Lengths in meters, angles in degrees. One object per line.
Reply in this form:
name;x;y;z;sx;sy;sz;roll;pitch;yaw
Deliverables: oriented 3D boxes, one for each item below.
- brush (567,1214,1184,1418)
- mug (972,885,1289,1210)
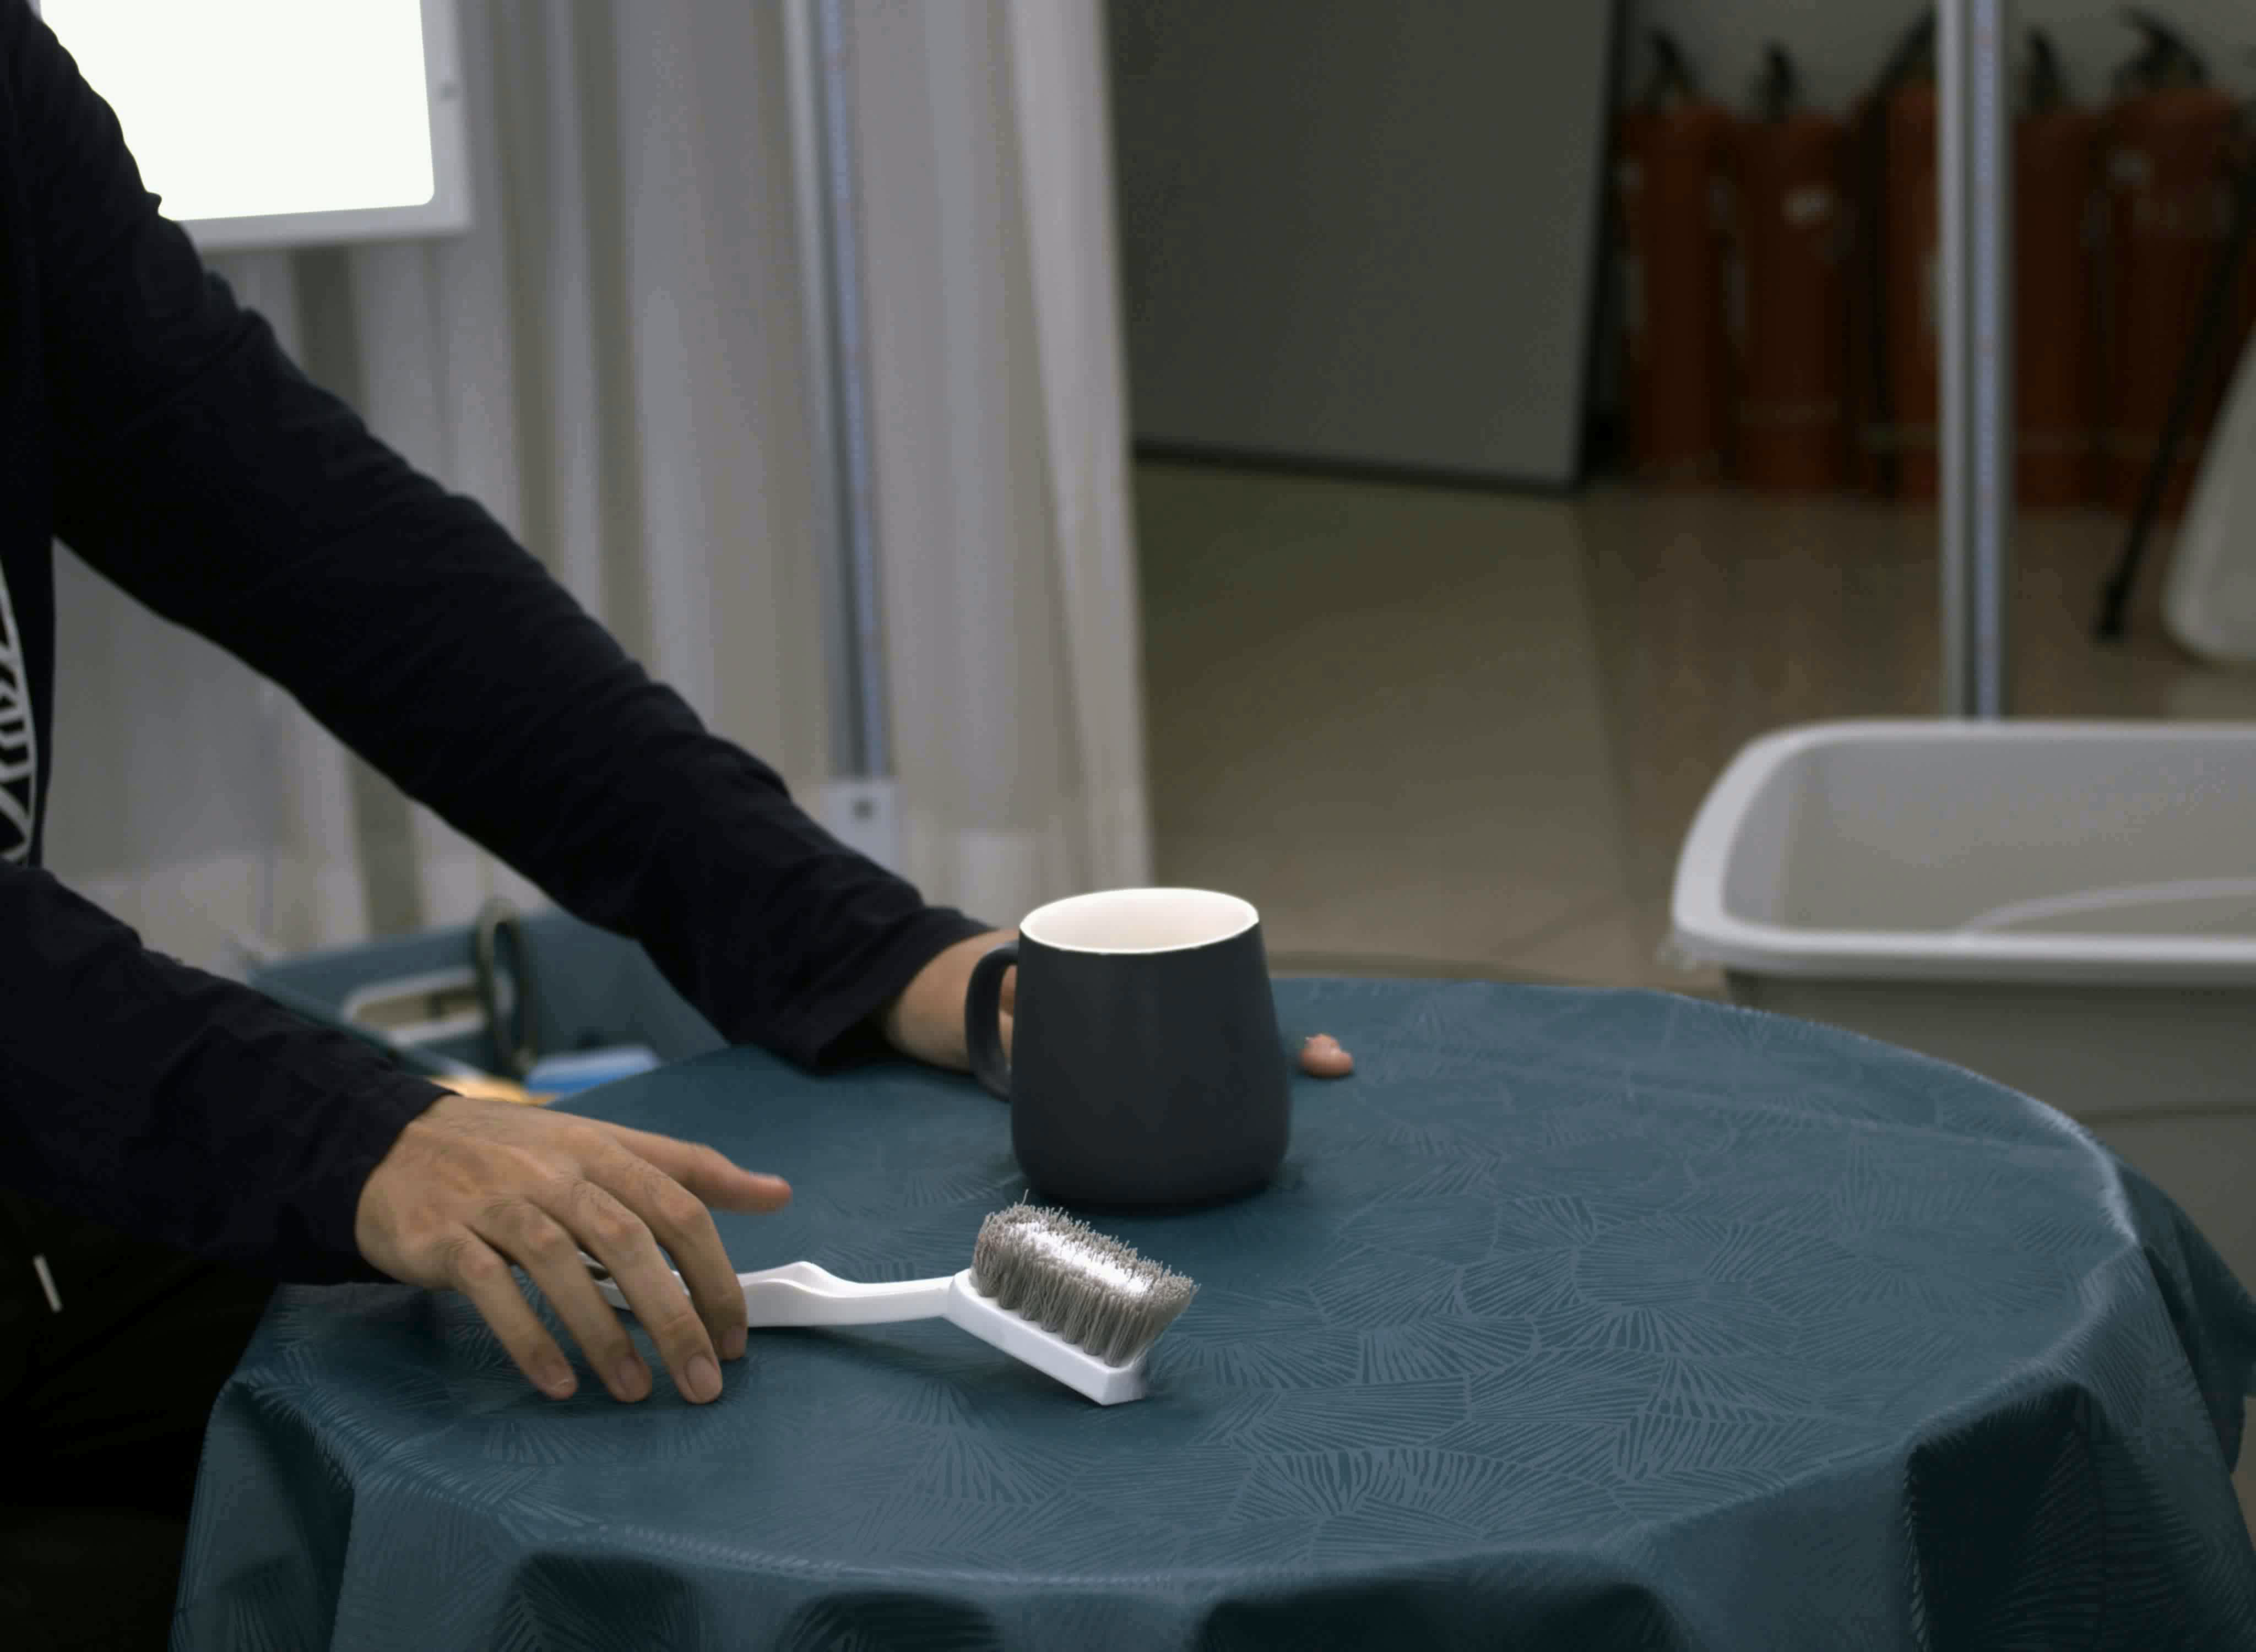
brush;-0.083;0.135;1.645;0.245;0.051;0.034;8;22;40
mug;-0.004;0.070;1.785;0.124;0.091;0.091;11;18;43
